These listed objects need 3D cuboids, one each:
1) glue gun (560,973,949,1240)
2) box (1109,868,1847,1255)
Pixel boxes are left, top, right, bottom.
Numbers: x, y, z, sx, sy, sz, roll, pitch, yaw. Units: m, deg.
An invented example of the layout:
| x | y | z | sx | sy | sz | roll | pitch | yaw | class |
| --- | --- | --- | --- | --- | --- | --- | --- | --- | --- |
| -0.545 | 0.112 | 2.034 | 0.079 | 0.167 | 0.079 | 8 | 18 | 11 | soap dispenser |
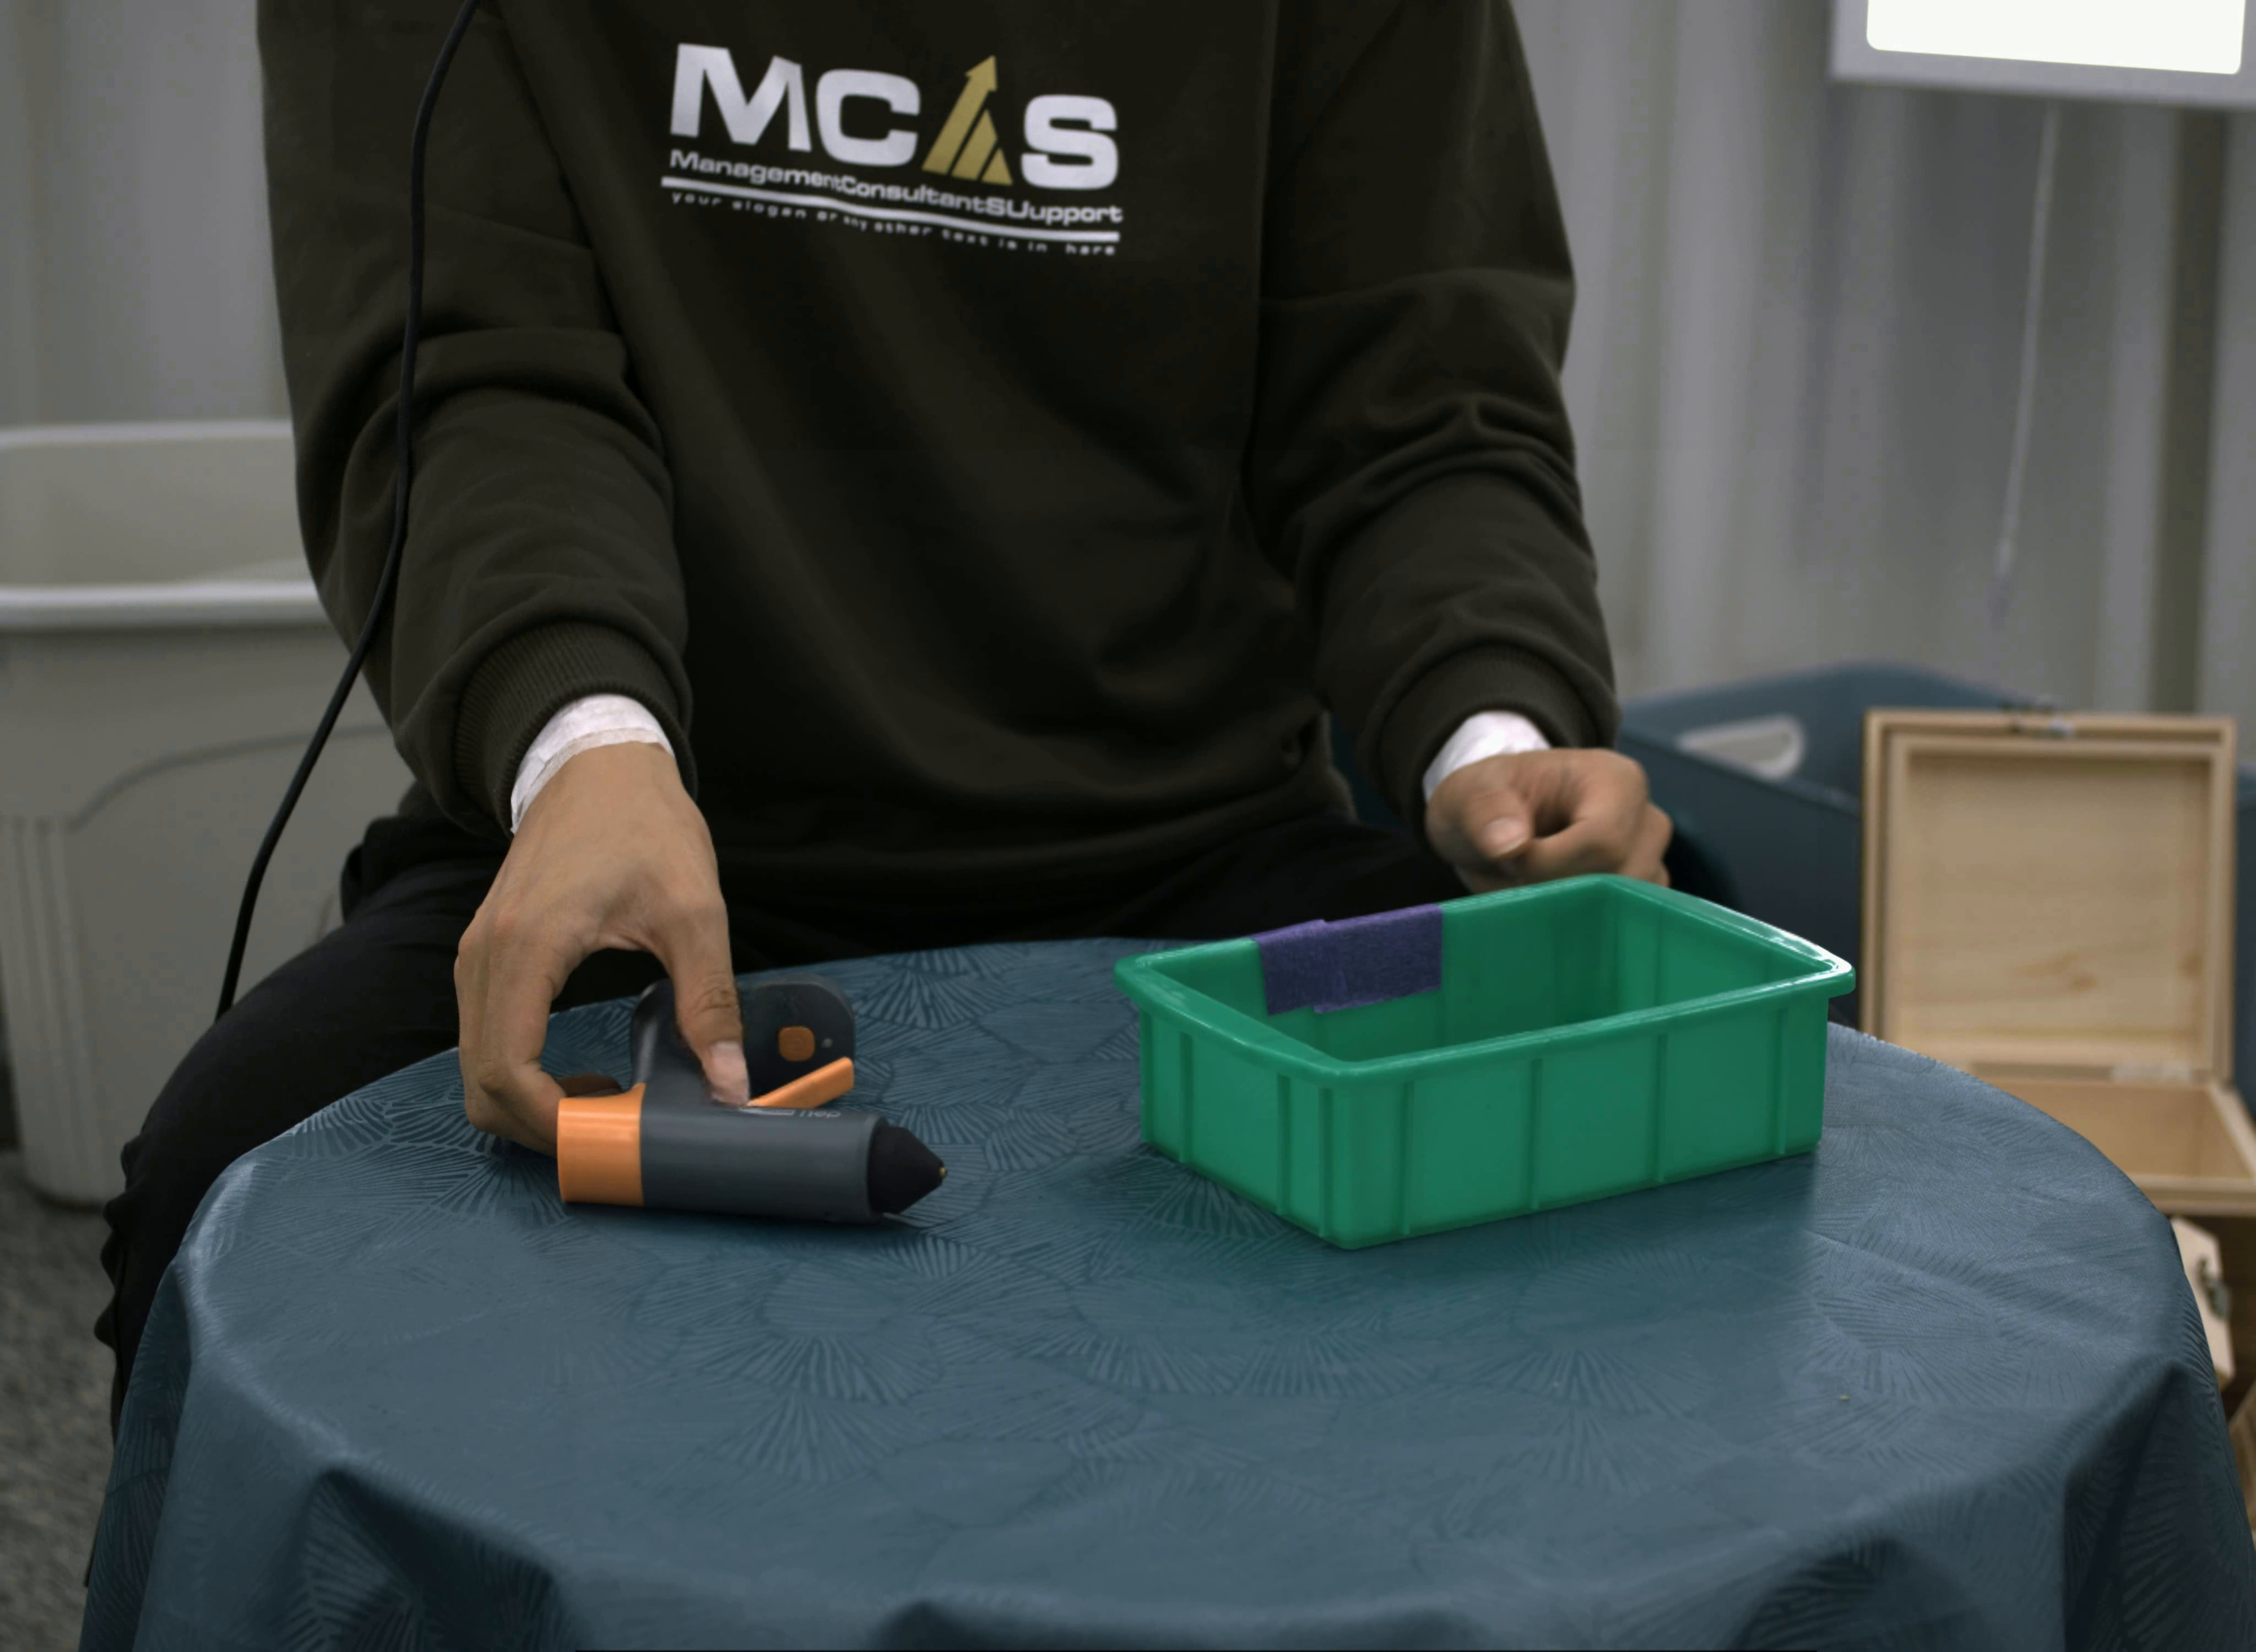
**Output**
| x | y | z | sx | sy | sz | roll | pitch | yaw | class |
| --- | --- | --- | --- | --- | --- | --- | --- | --- | --- |
| -0.117 | 0.090 | 1.645 | 0.118 | 0.041 | 0.139 | 4 | 18 | -7 | glue gun |
| 0.110 | 0.073 | 1.660 | 0.211 | 0.066 | 0.137 | -11 | 19 | -31 | box |
